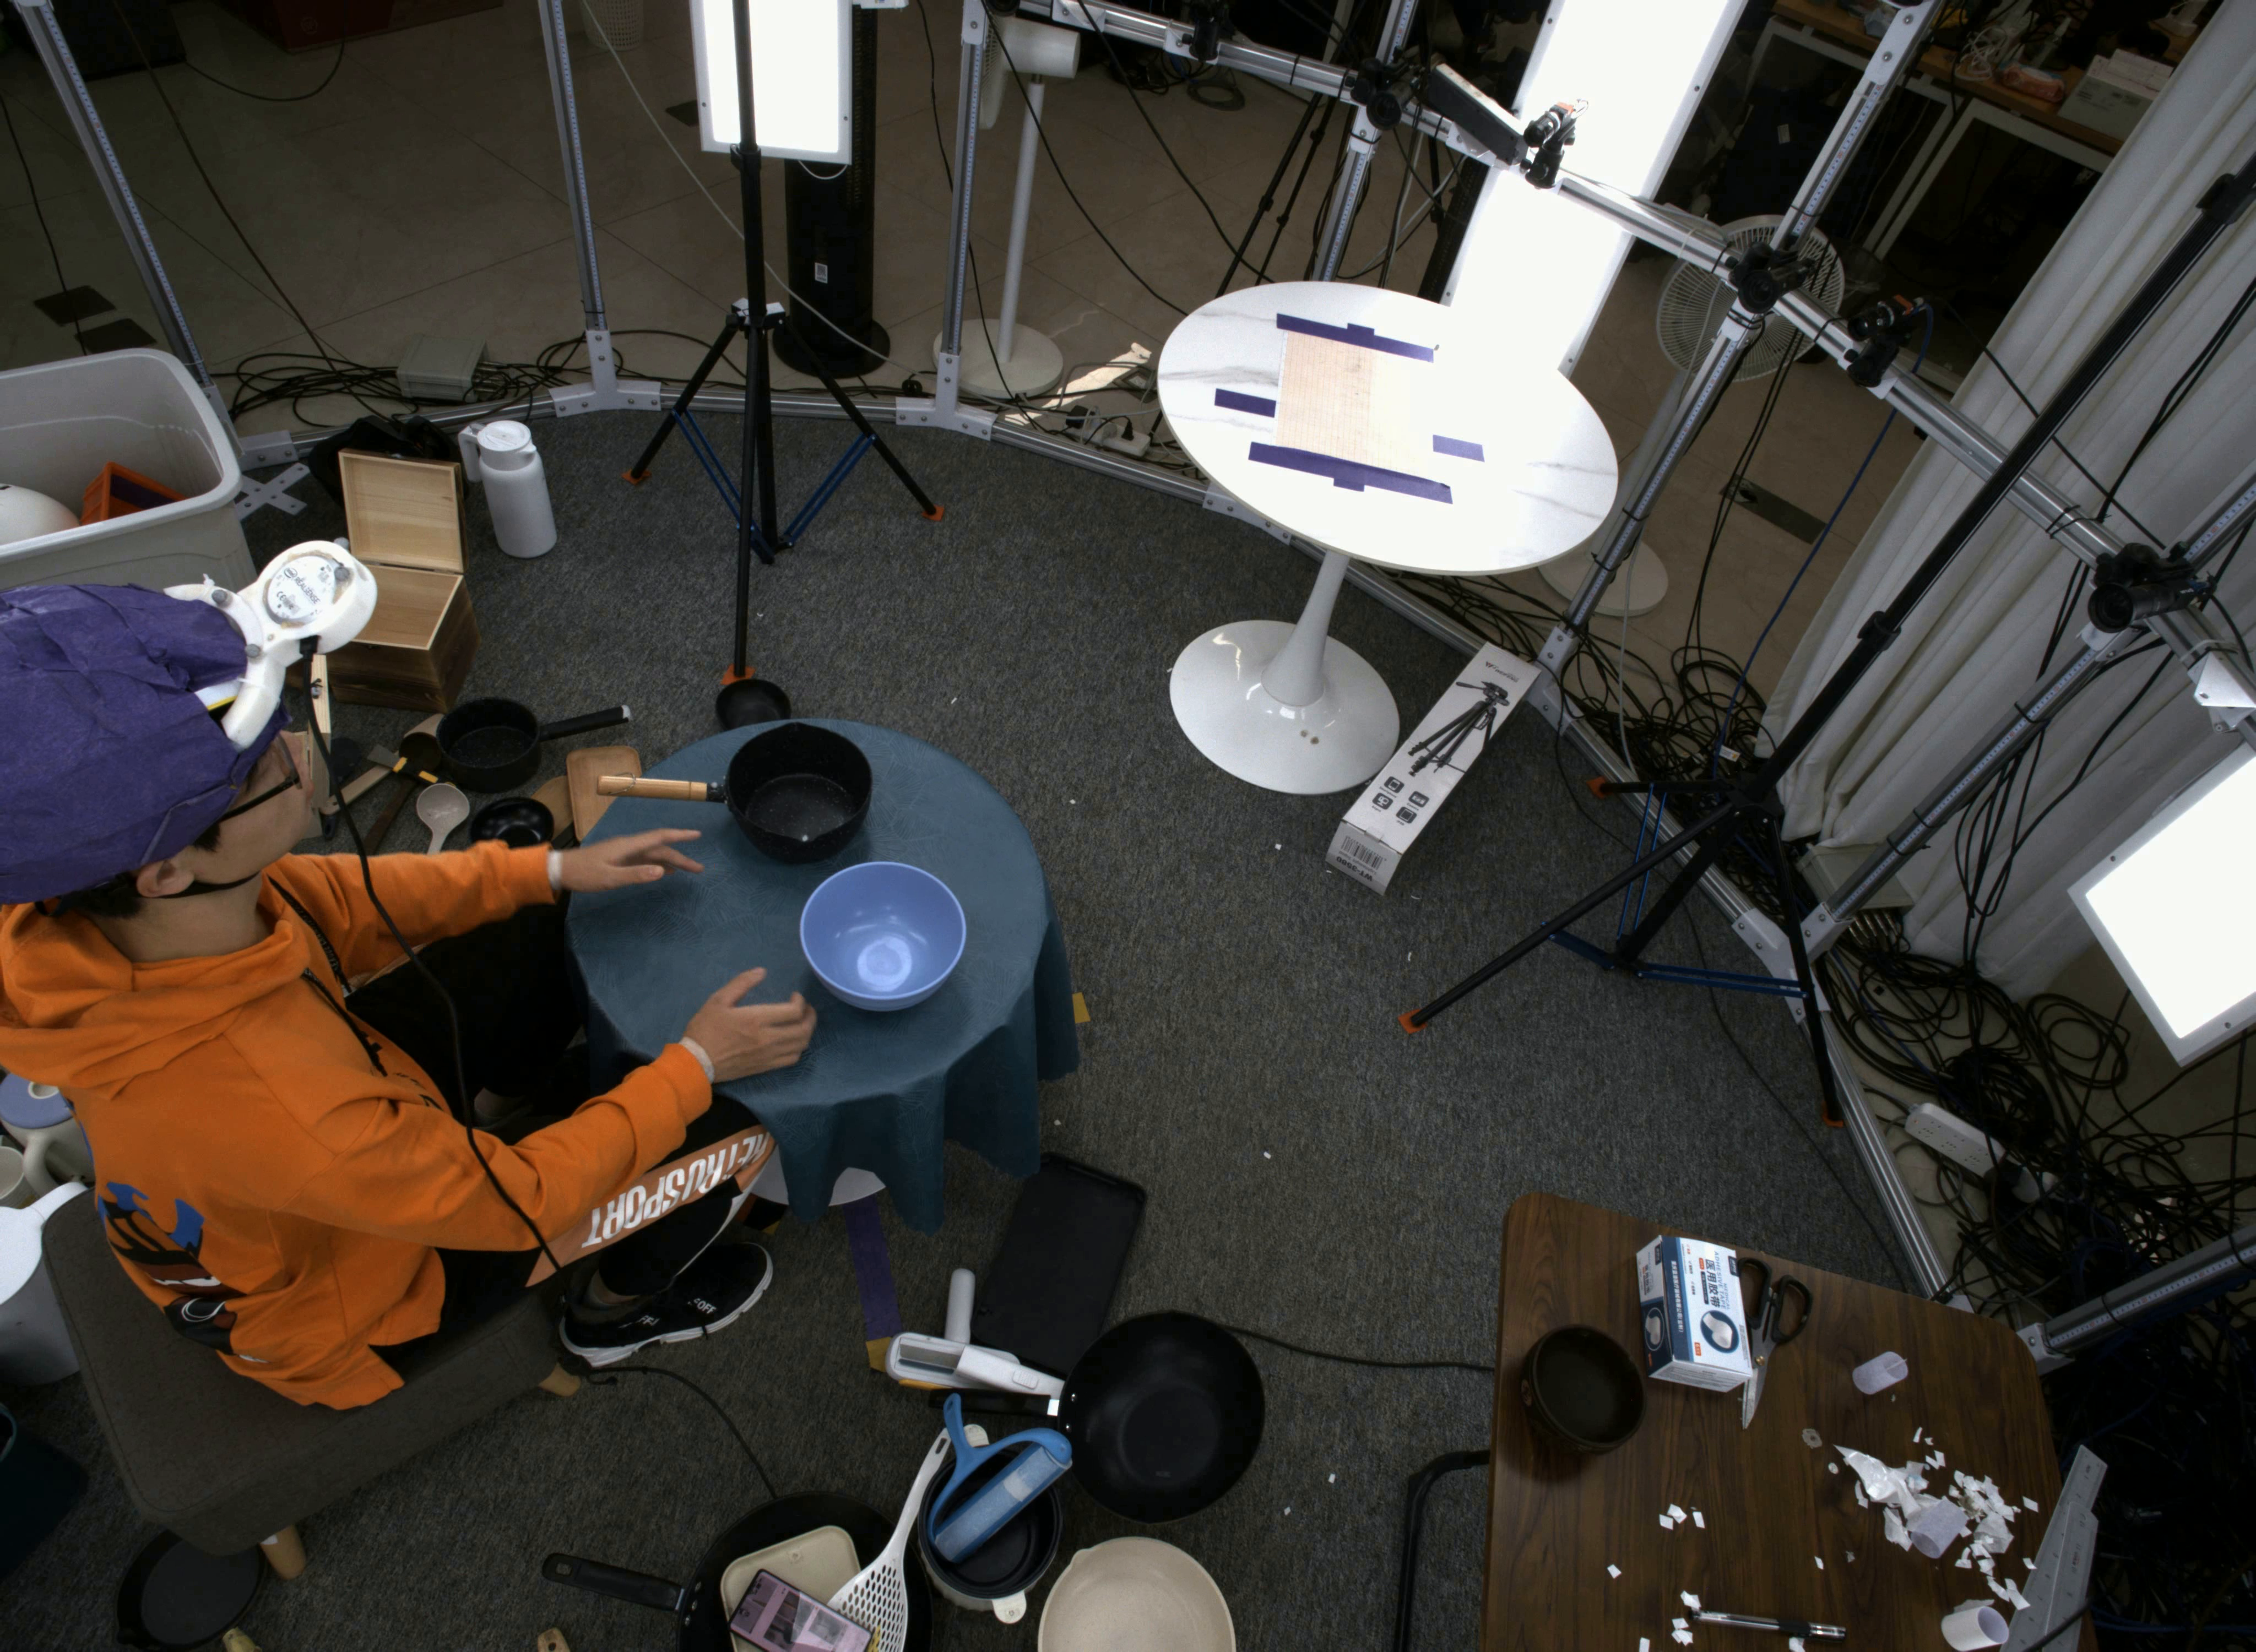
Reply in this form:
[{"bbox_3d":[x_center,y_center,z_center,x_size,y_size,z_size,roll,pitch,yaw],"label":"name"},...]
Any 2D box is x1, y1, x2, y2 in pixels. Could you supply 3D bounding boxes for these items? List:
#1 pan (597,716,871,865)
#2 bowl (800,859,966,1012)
[{"bbox_3d":[-0.502,-0.037,1.650,0.344,0.110,0.203,-5,56,-20],"label":"pan"},{"bbox_3d":[-0.297,0.146,1.575,0.196,0.097,0.193,9,51,-9],"label":"bowl"}]
